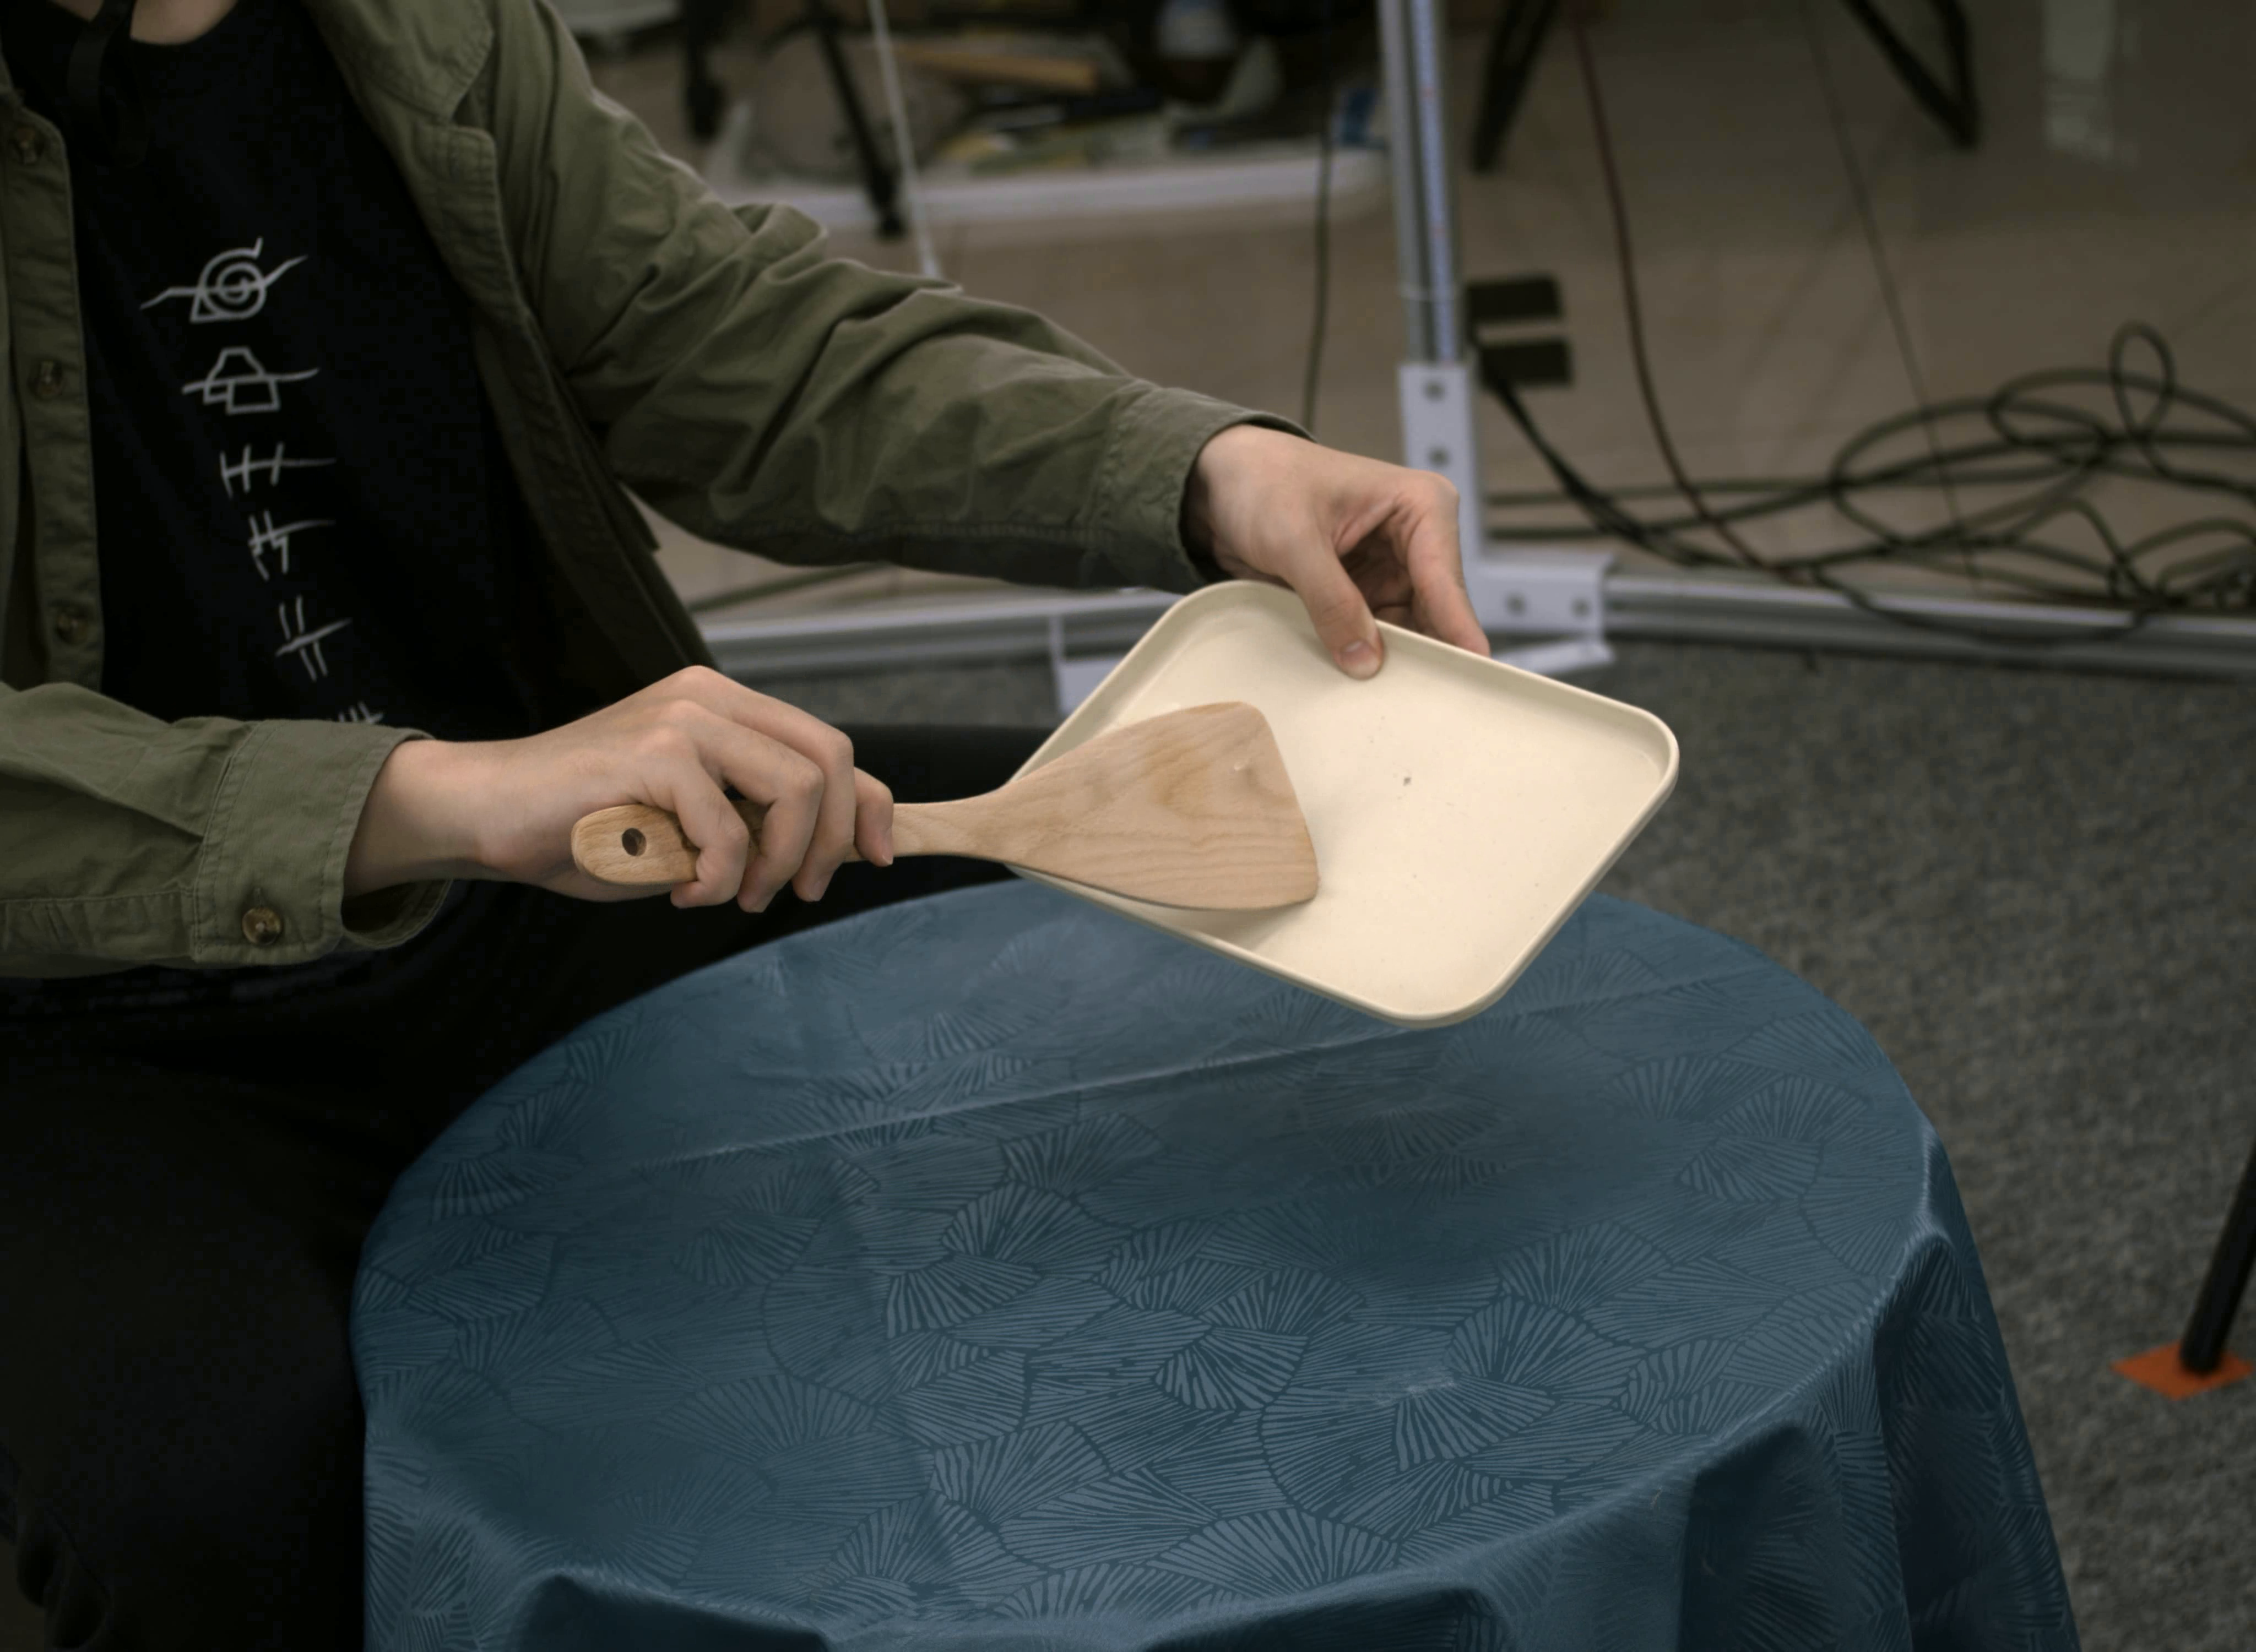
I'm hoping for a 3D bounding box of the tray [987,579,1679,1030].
[{"bbox_3d":[0.077,-0.009,2.136,0.238,0.018,0.169,22,57,34],"label":"tray"}]

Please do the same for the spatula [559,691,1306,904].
[{"bbox_3d":[-0.066,-0.002,2.013,0.327,0.080,0.016,-5,-9,-41],"label":"spatula"}]
